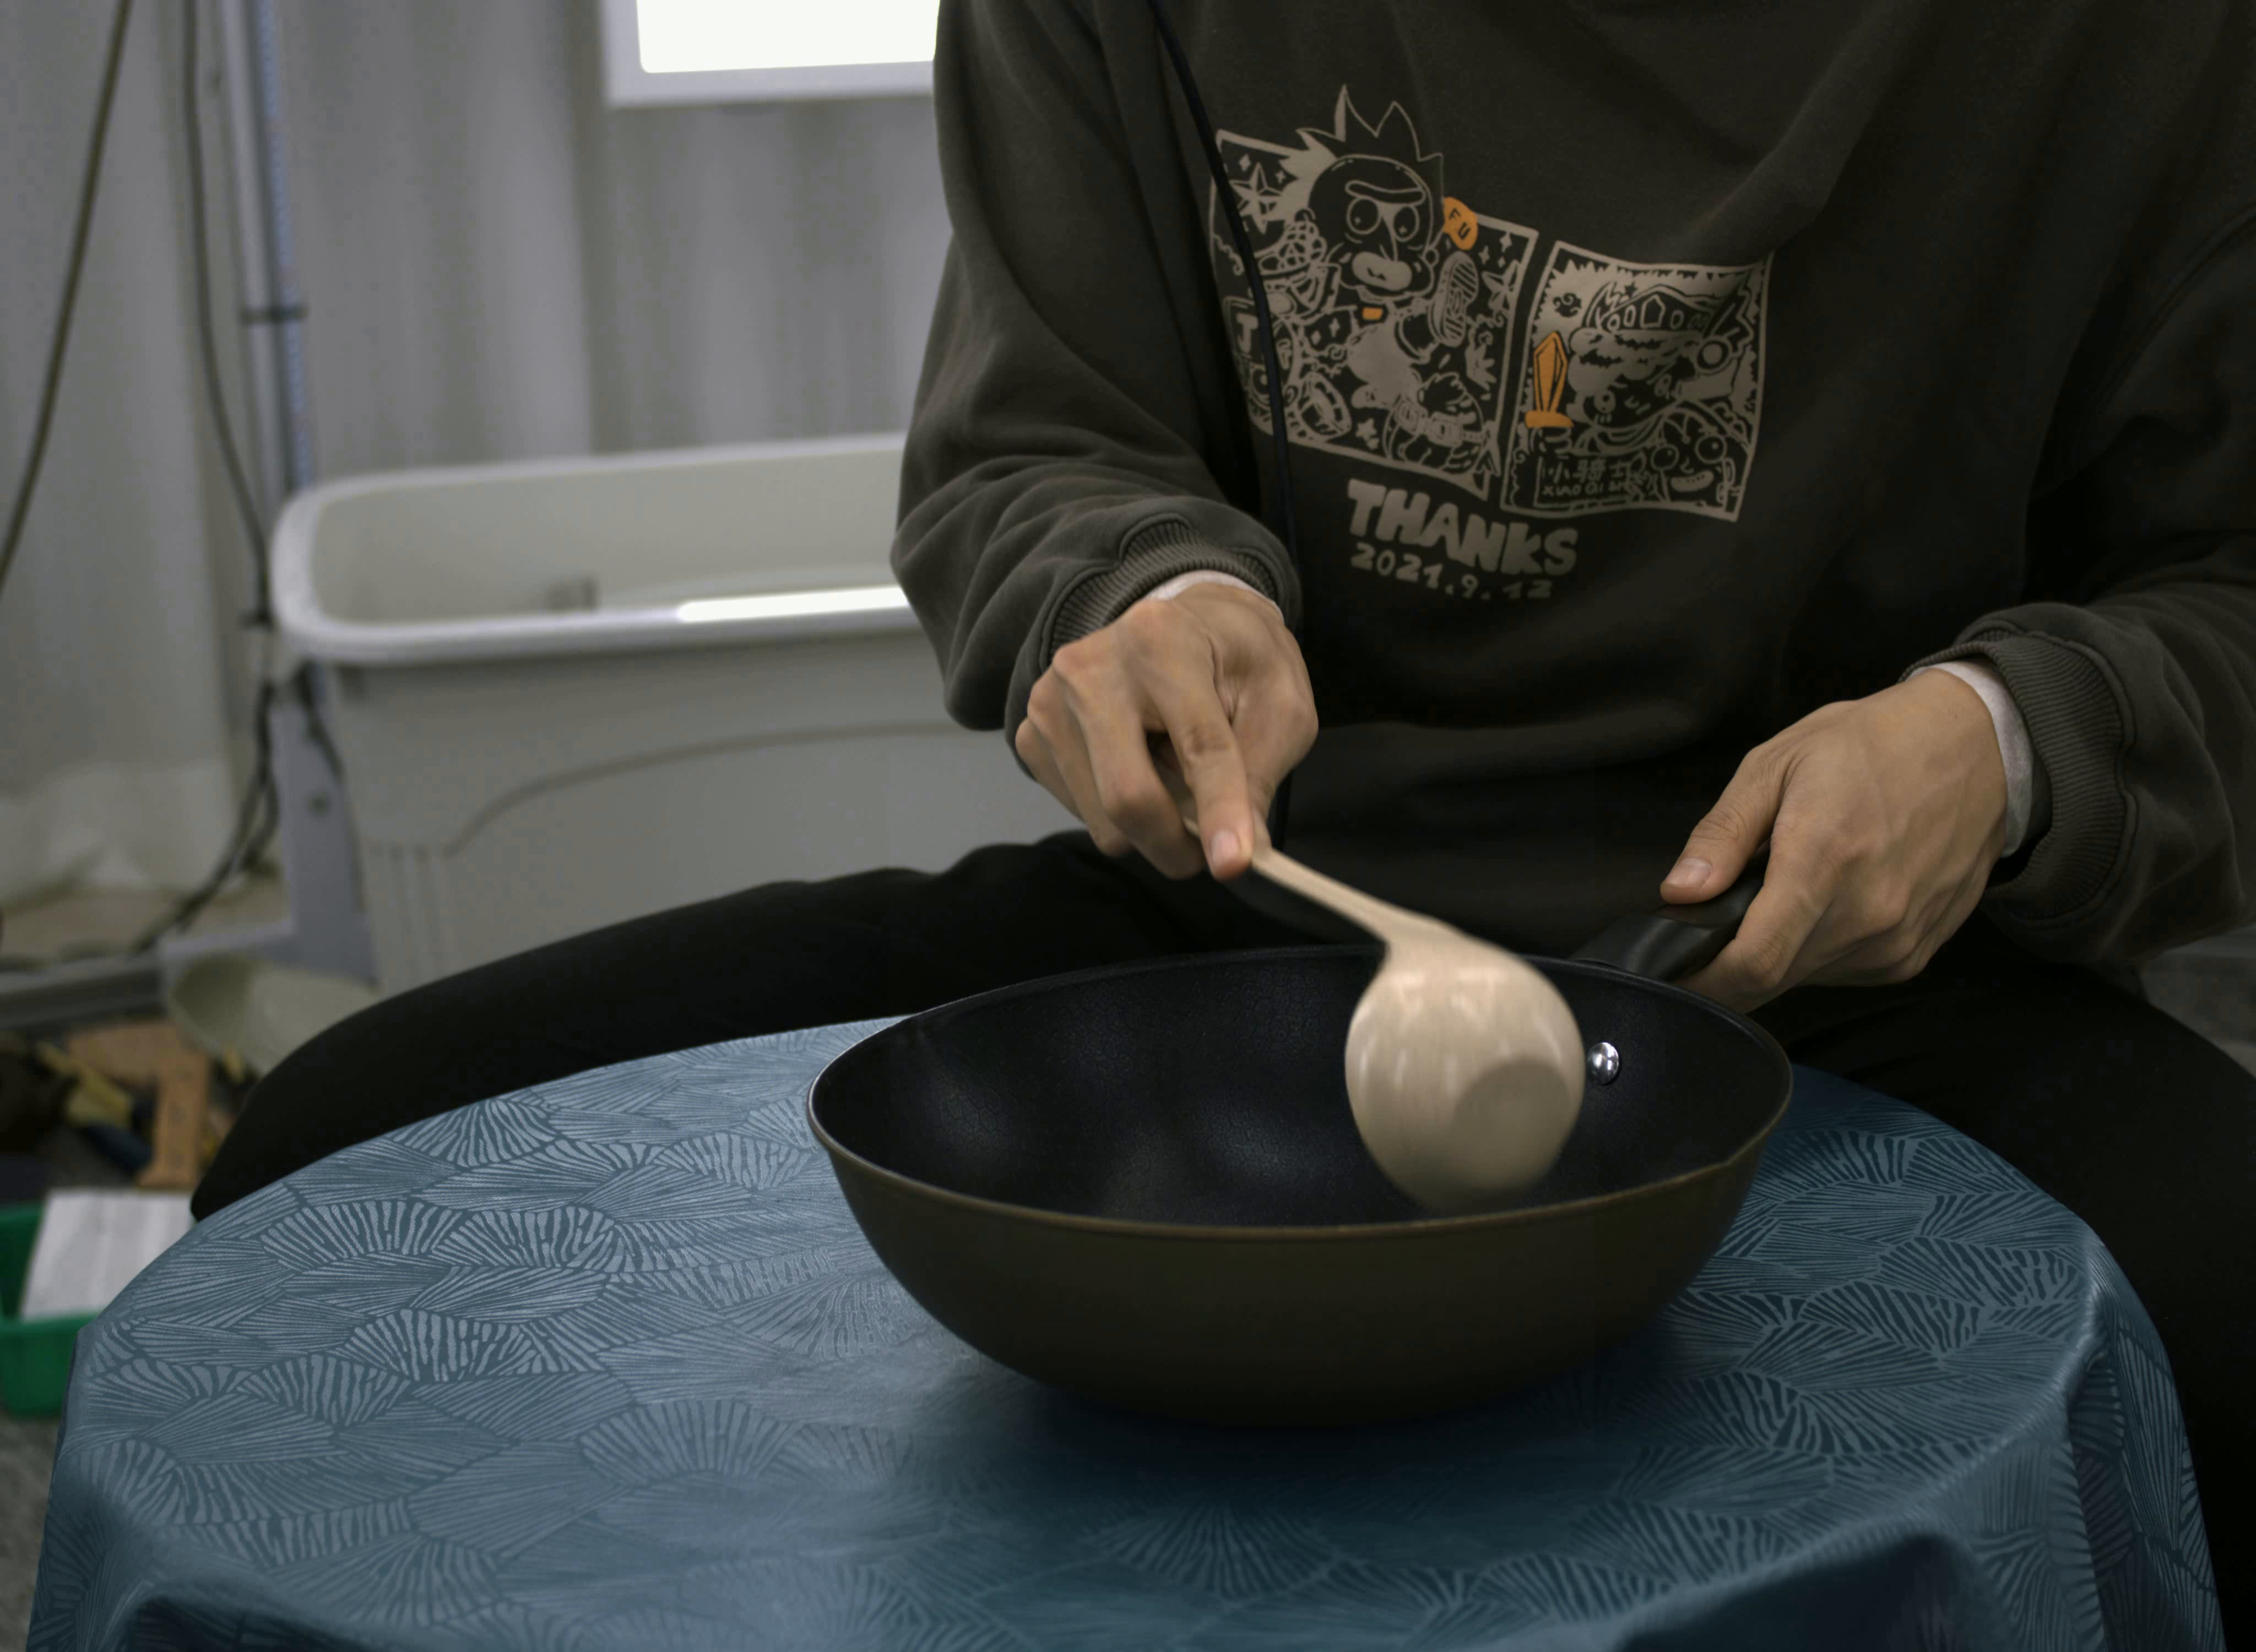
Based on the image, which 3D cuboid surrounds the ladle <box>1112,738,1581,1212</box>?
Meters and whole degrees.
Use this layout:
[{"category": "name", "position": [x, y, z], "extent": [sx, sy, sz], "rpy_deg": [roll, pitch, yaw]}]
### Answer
[{"category": "ladle", "position": [0.051, 0.045, 1.620], "extent": [0.072, 0.072, 0.257], "rpy_deg": [-5, 20, -24]}]

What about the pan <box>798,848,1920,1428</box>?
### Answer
[{"category": "pan", "position": [0.103, 0.090, 1.639], "extent": [0.289, 0.086, 0.463], "rpy_deg": [9, 17, 37]}]
